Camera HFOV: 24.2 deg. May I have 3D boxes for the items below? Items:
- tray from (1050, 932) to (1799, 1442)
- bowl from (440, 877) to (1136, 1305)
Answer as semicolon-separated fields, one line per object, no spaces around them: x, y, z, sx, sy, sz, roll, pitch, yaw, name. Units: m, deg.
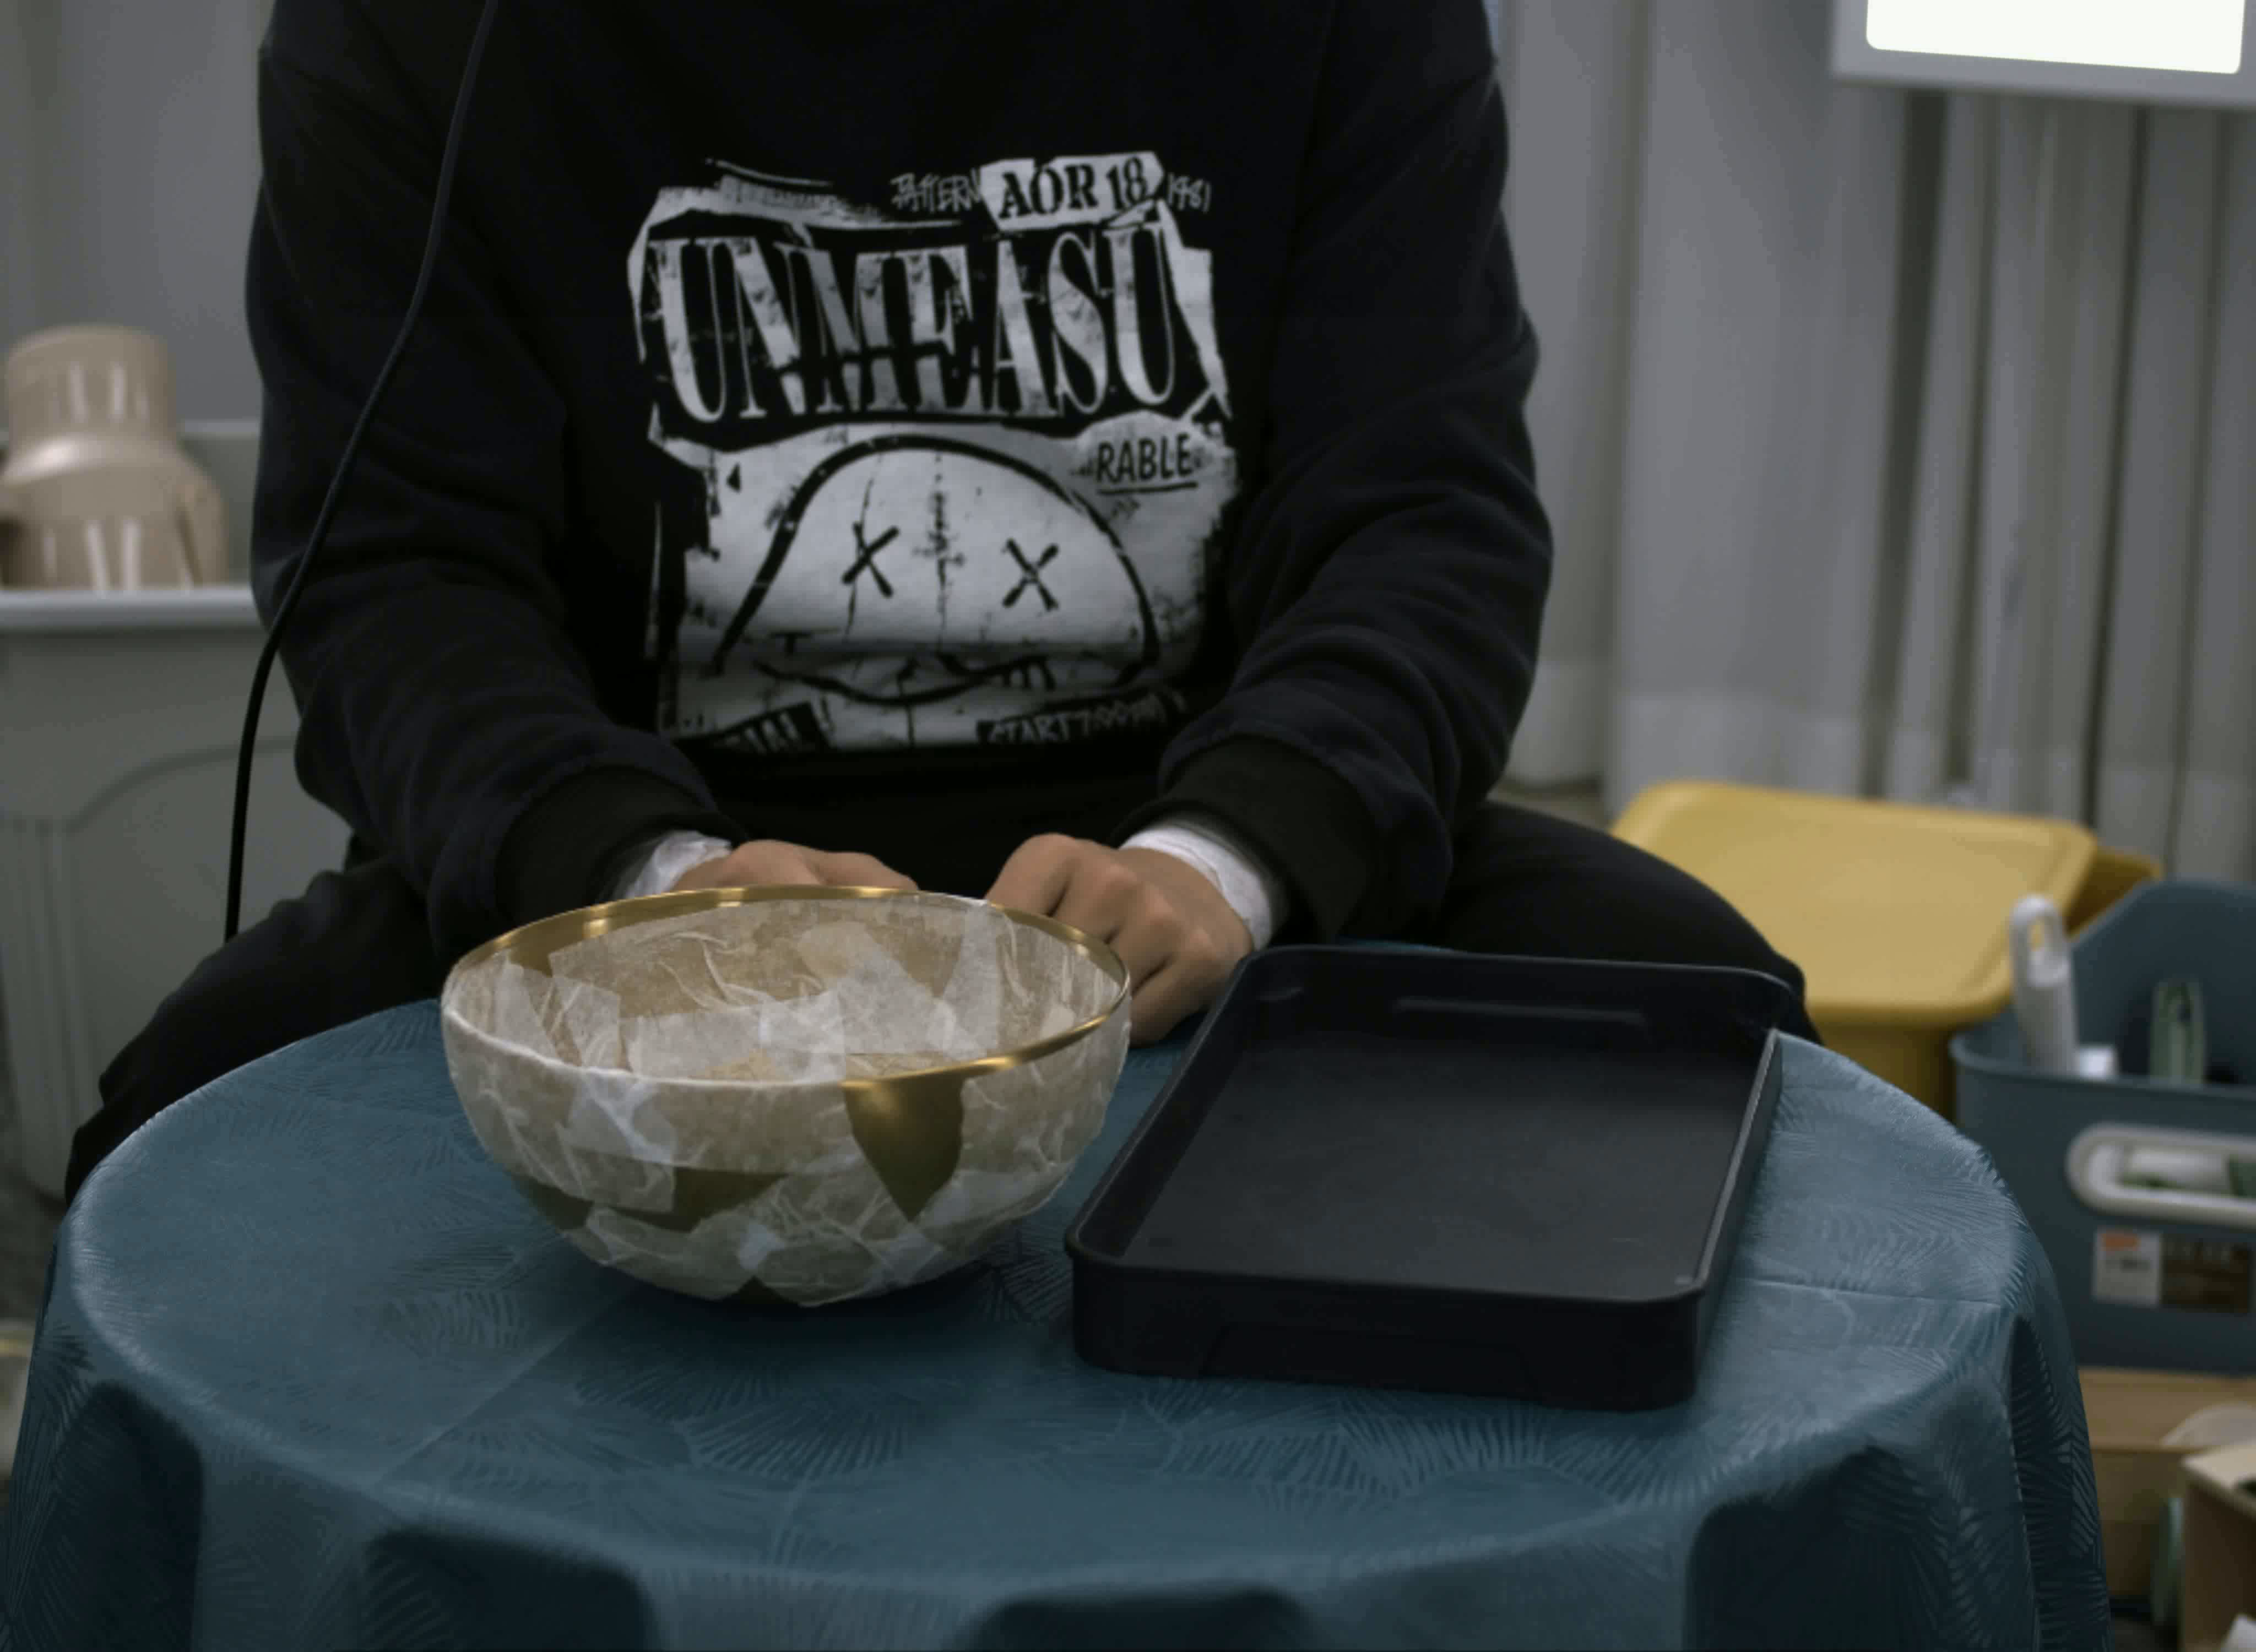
0.098;0.103;1.607;0.183;0.037;0.317;6;18;12;tray
-0.095;0.085;1.545;0.214;0.095;0.213;-1;16;1;bowl
